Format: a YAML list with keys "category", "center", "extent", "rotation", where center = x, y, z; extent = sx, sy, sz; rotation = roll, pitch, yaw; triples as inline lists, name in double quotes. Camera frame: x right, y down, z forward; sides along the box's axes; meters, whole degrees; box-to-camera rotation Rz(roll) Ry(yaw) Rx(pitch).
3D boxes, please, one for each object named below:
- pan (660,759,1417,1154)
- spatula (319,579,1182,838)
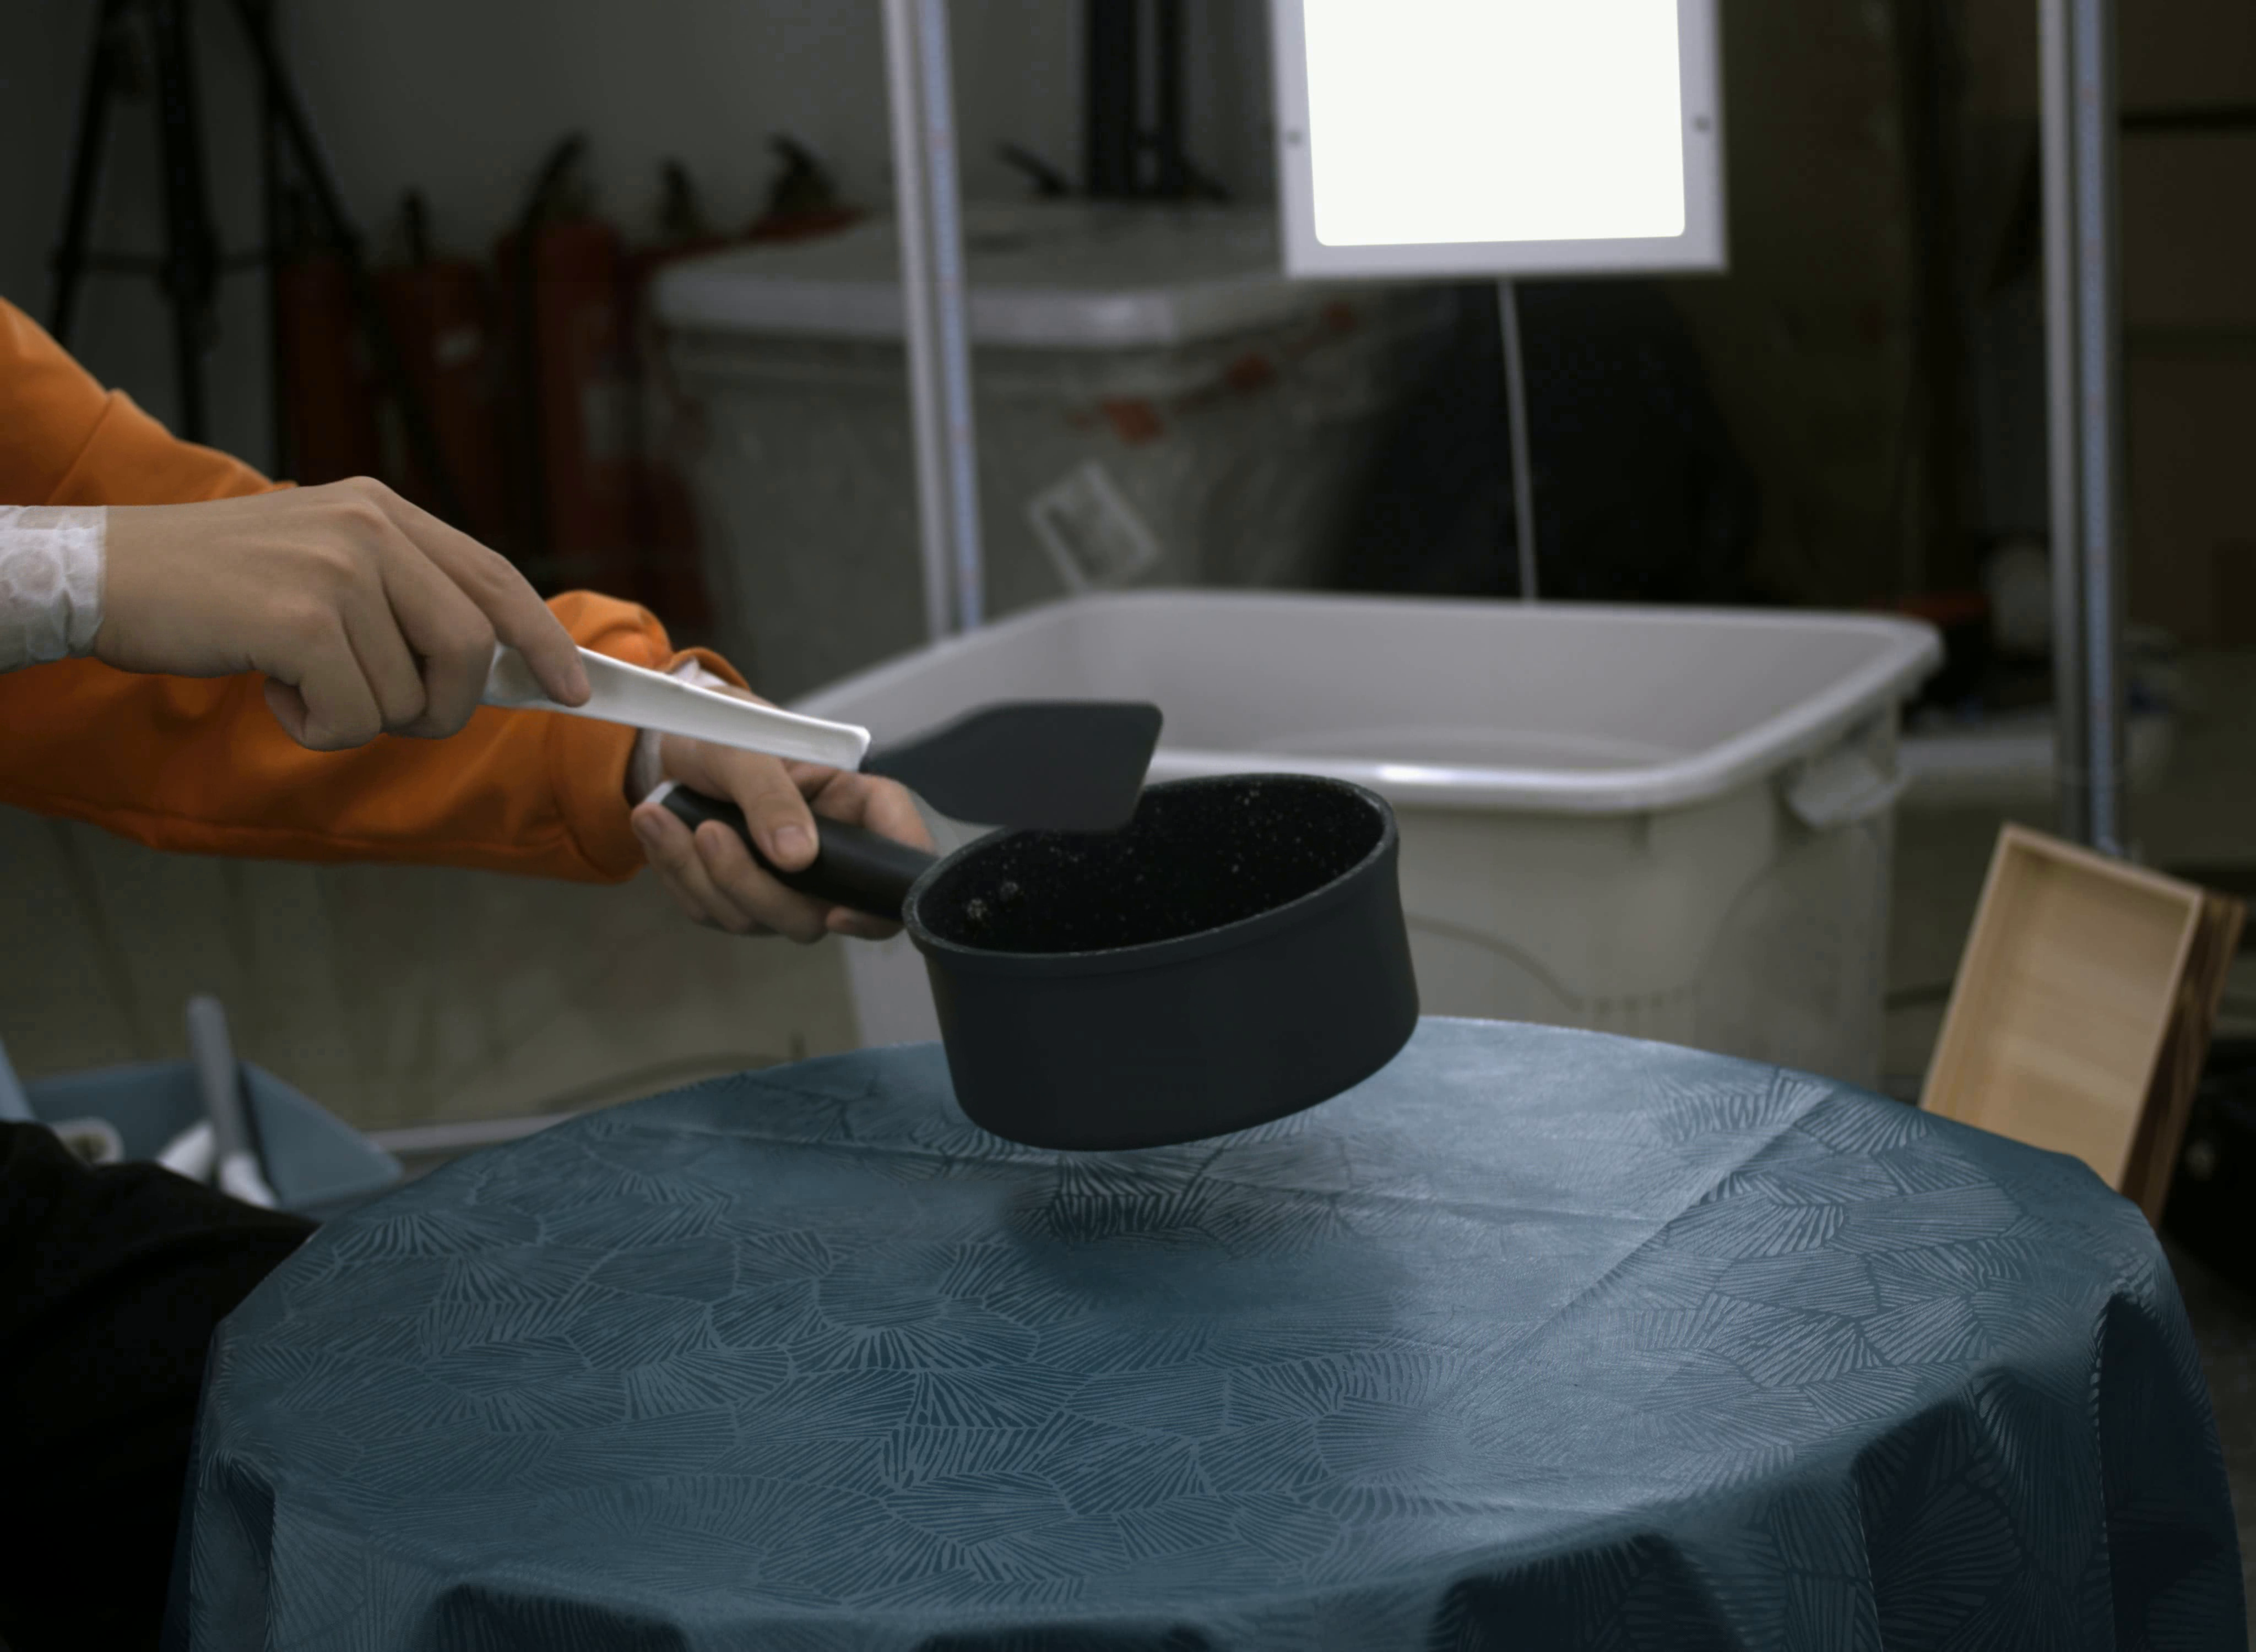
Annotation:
- category: "pan"
  center: [-0.044, 0.036, 1.934]
  extent: [0.168, 0.086, 0.336]
  rotation: [-26, 24, -39]
- category: "spatula"
  center: [-0.119, -0.037, 1.789]
  extent: [0.283, 0.059, 0.032]
  rotation: [11, 27, -16]
